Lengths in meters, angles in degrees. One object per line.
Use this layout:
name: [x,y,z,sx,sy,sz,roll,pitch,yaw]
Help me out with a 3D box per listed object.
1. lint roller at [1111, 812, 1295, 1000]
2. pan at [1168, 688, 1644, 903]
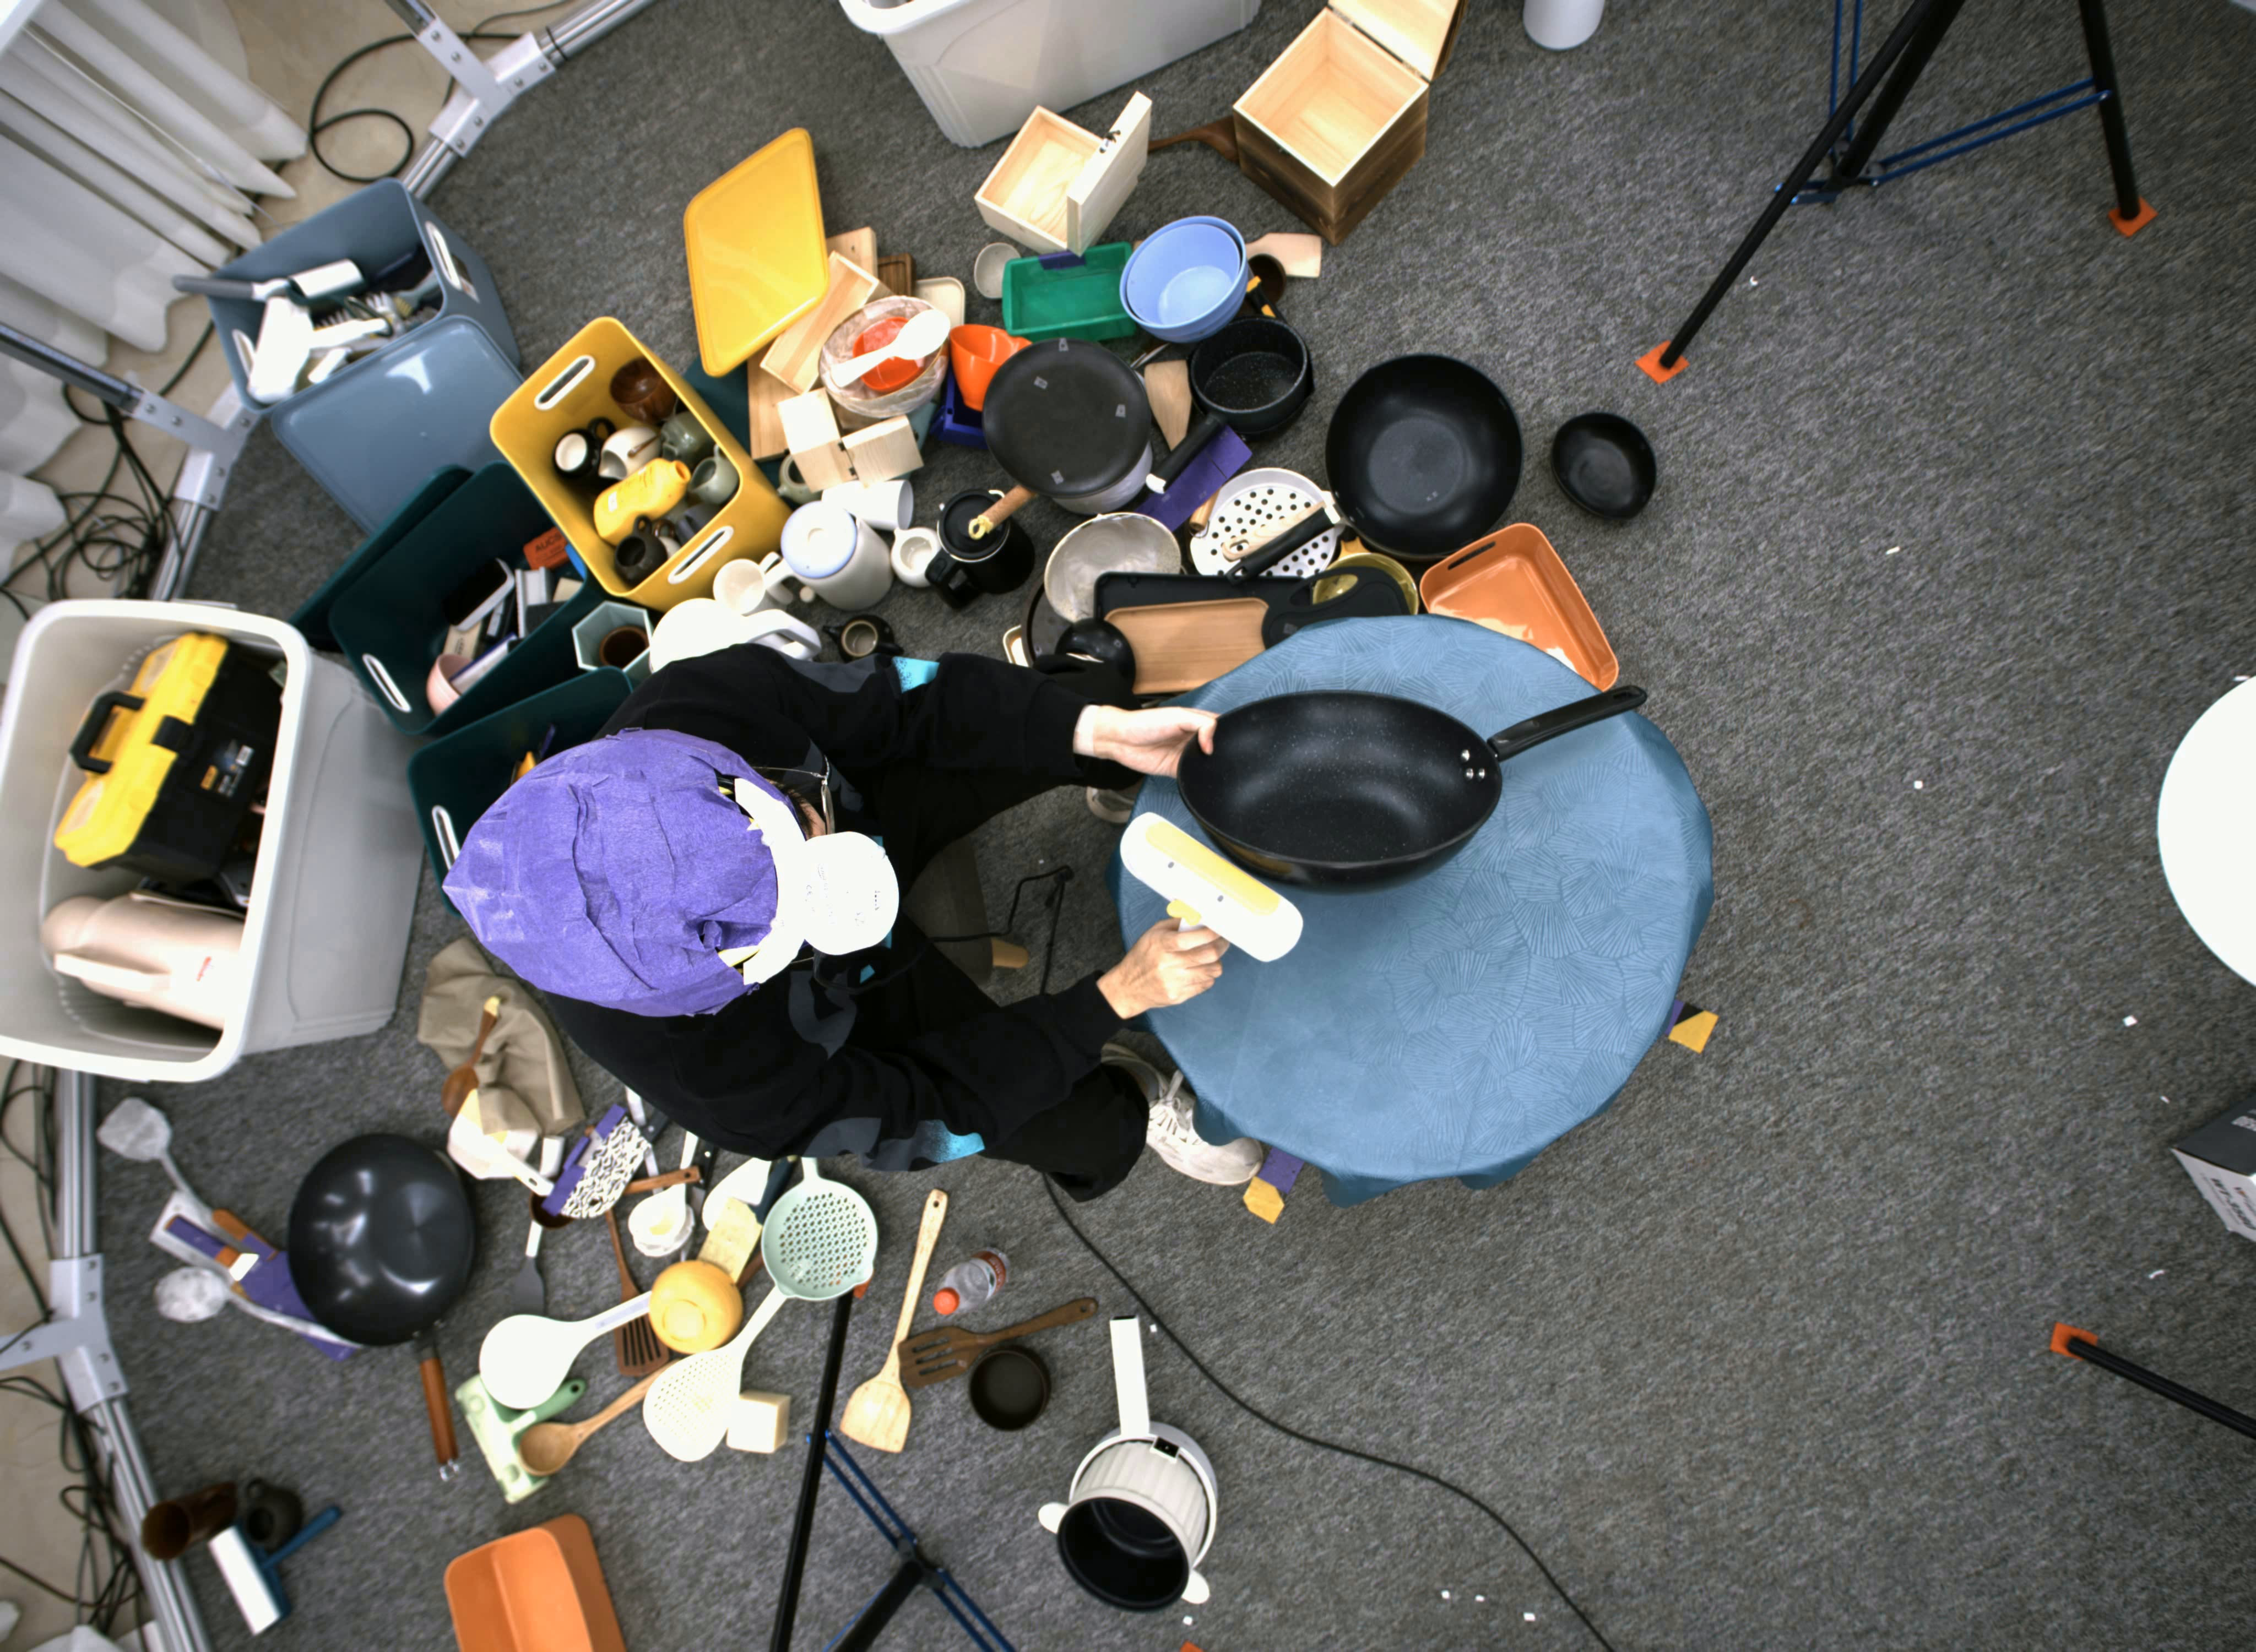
lint roller: [0.066,0.094,1.335,0.192,0.197,0.072,27,58,21]
pan: [0.276,-0.045,1.341,0.476,0.303,0.114,-11,128,-8]
